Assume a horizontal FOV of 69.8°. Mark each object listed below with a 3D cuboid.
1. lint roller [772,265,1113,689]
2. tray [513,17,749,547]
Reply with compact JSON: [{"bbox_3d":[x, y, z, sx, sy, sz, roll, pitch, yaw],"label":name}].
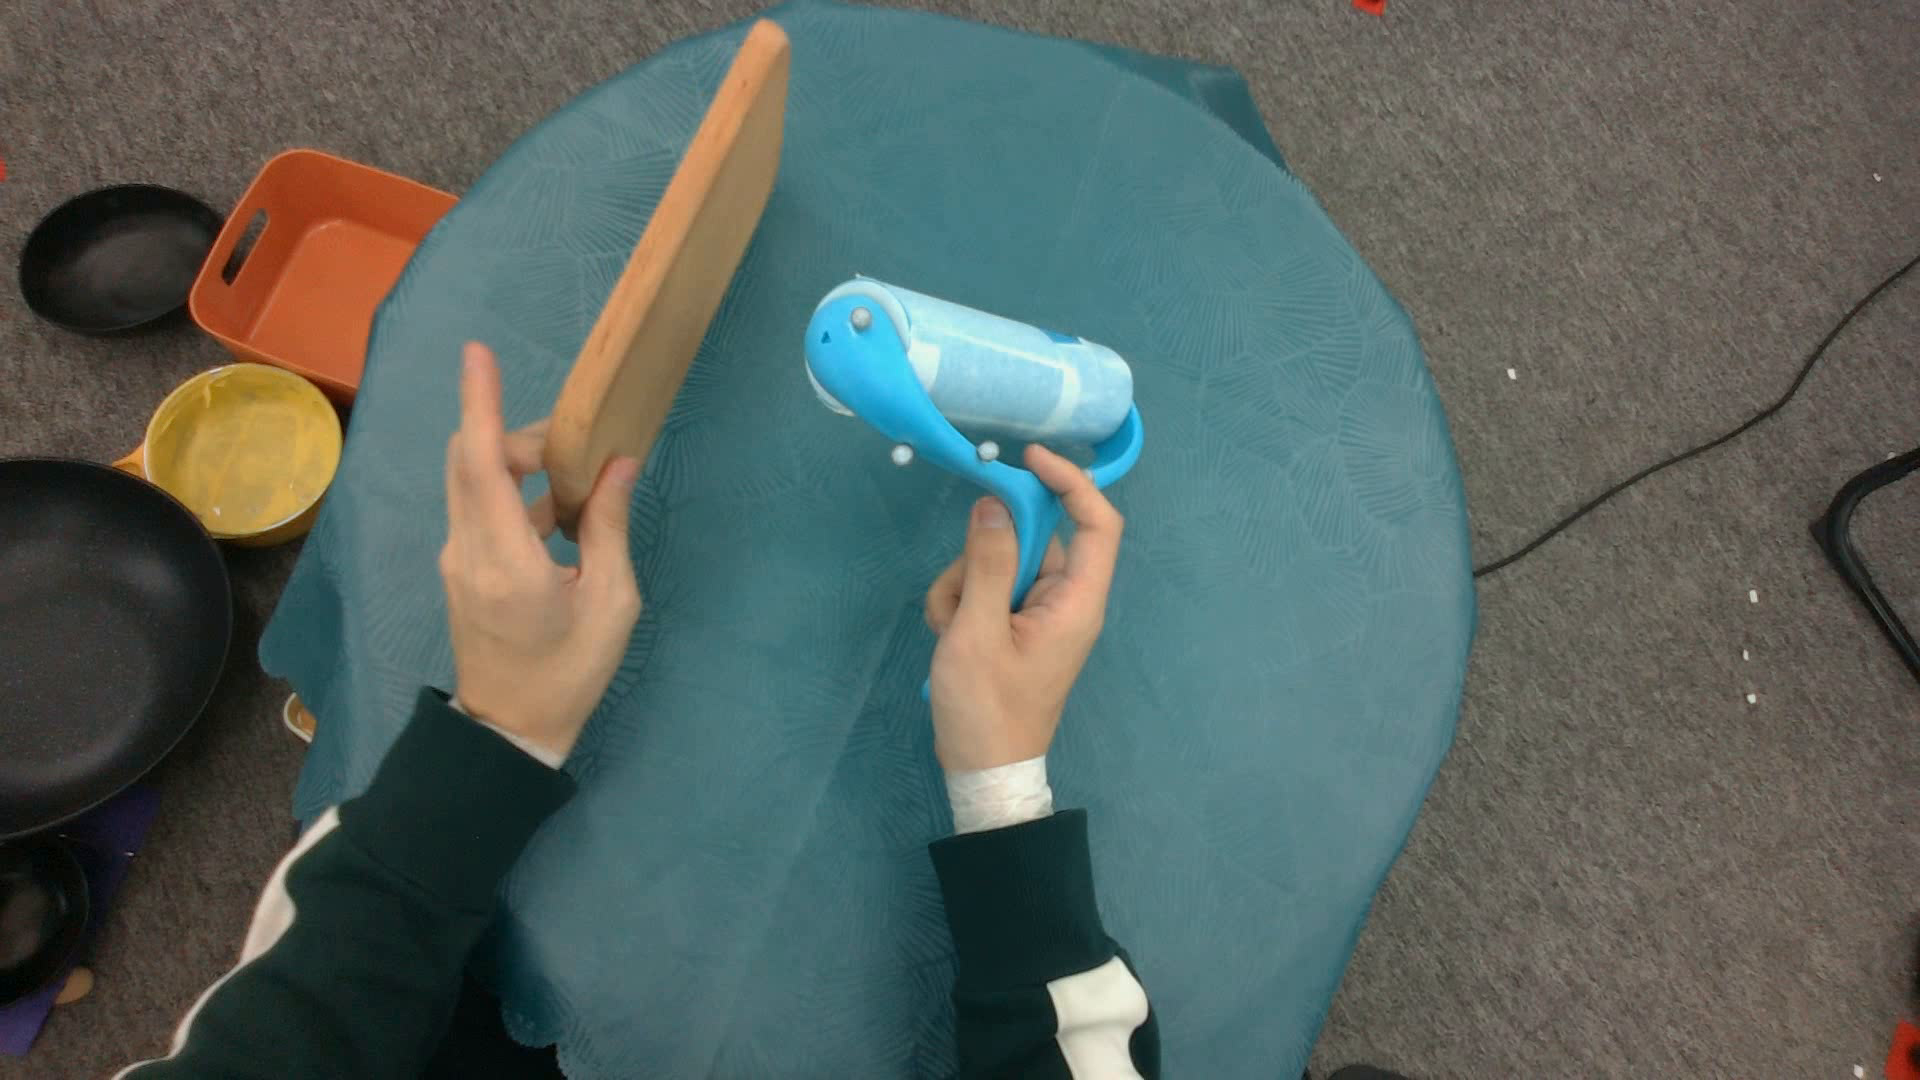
[{"bbox_3d":[0.001,-0.022,0.617,0.068,0.229,0.180,-1,93,31],"label":"lint roller"},{"bbox_3d":[-0.147,-0.120,0.642,0.023,0.130,0.251,17,65,-1],"label":"tray"}]
